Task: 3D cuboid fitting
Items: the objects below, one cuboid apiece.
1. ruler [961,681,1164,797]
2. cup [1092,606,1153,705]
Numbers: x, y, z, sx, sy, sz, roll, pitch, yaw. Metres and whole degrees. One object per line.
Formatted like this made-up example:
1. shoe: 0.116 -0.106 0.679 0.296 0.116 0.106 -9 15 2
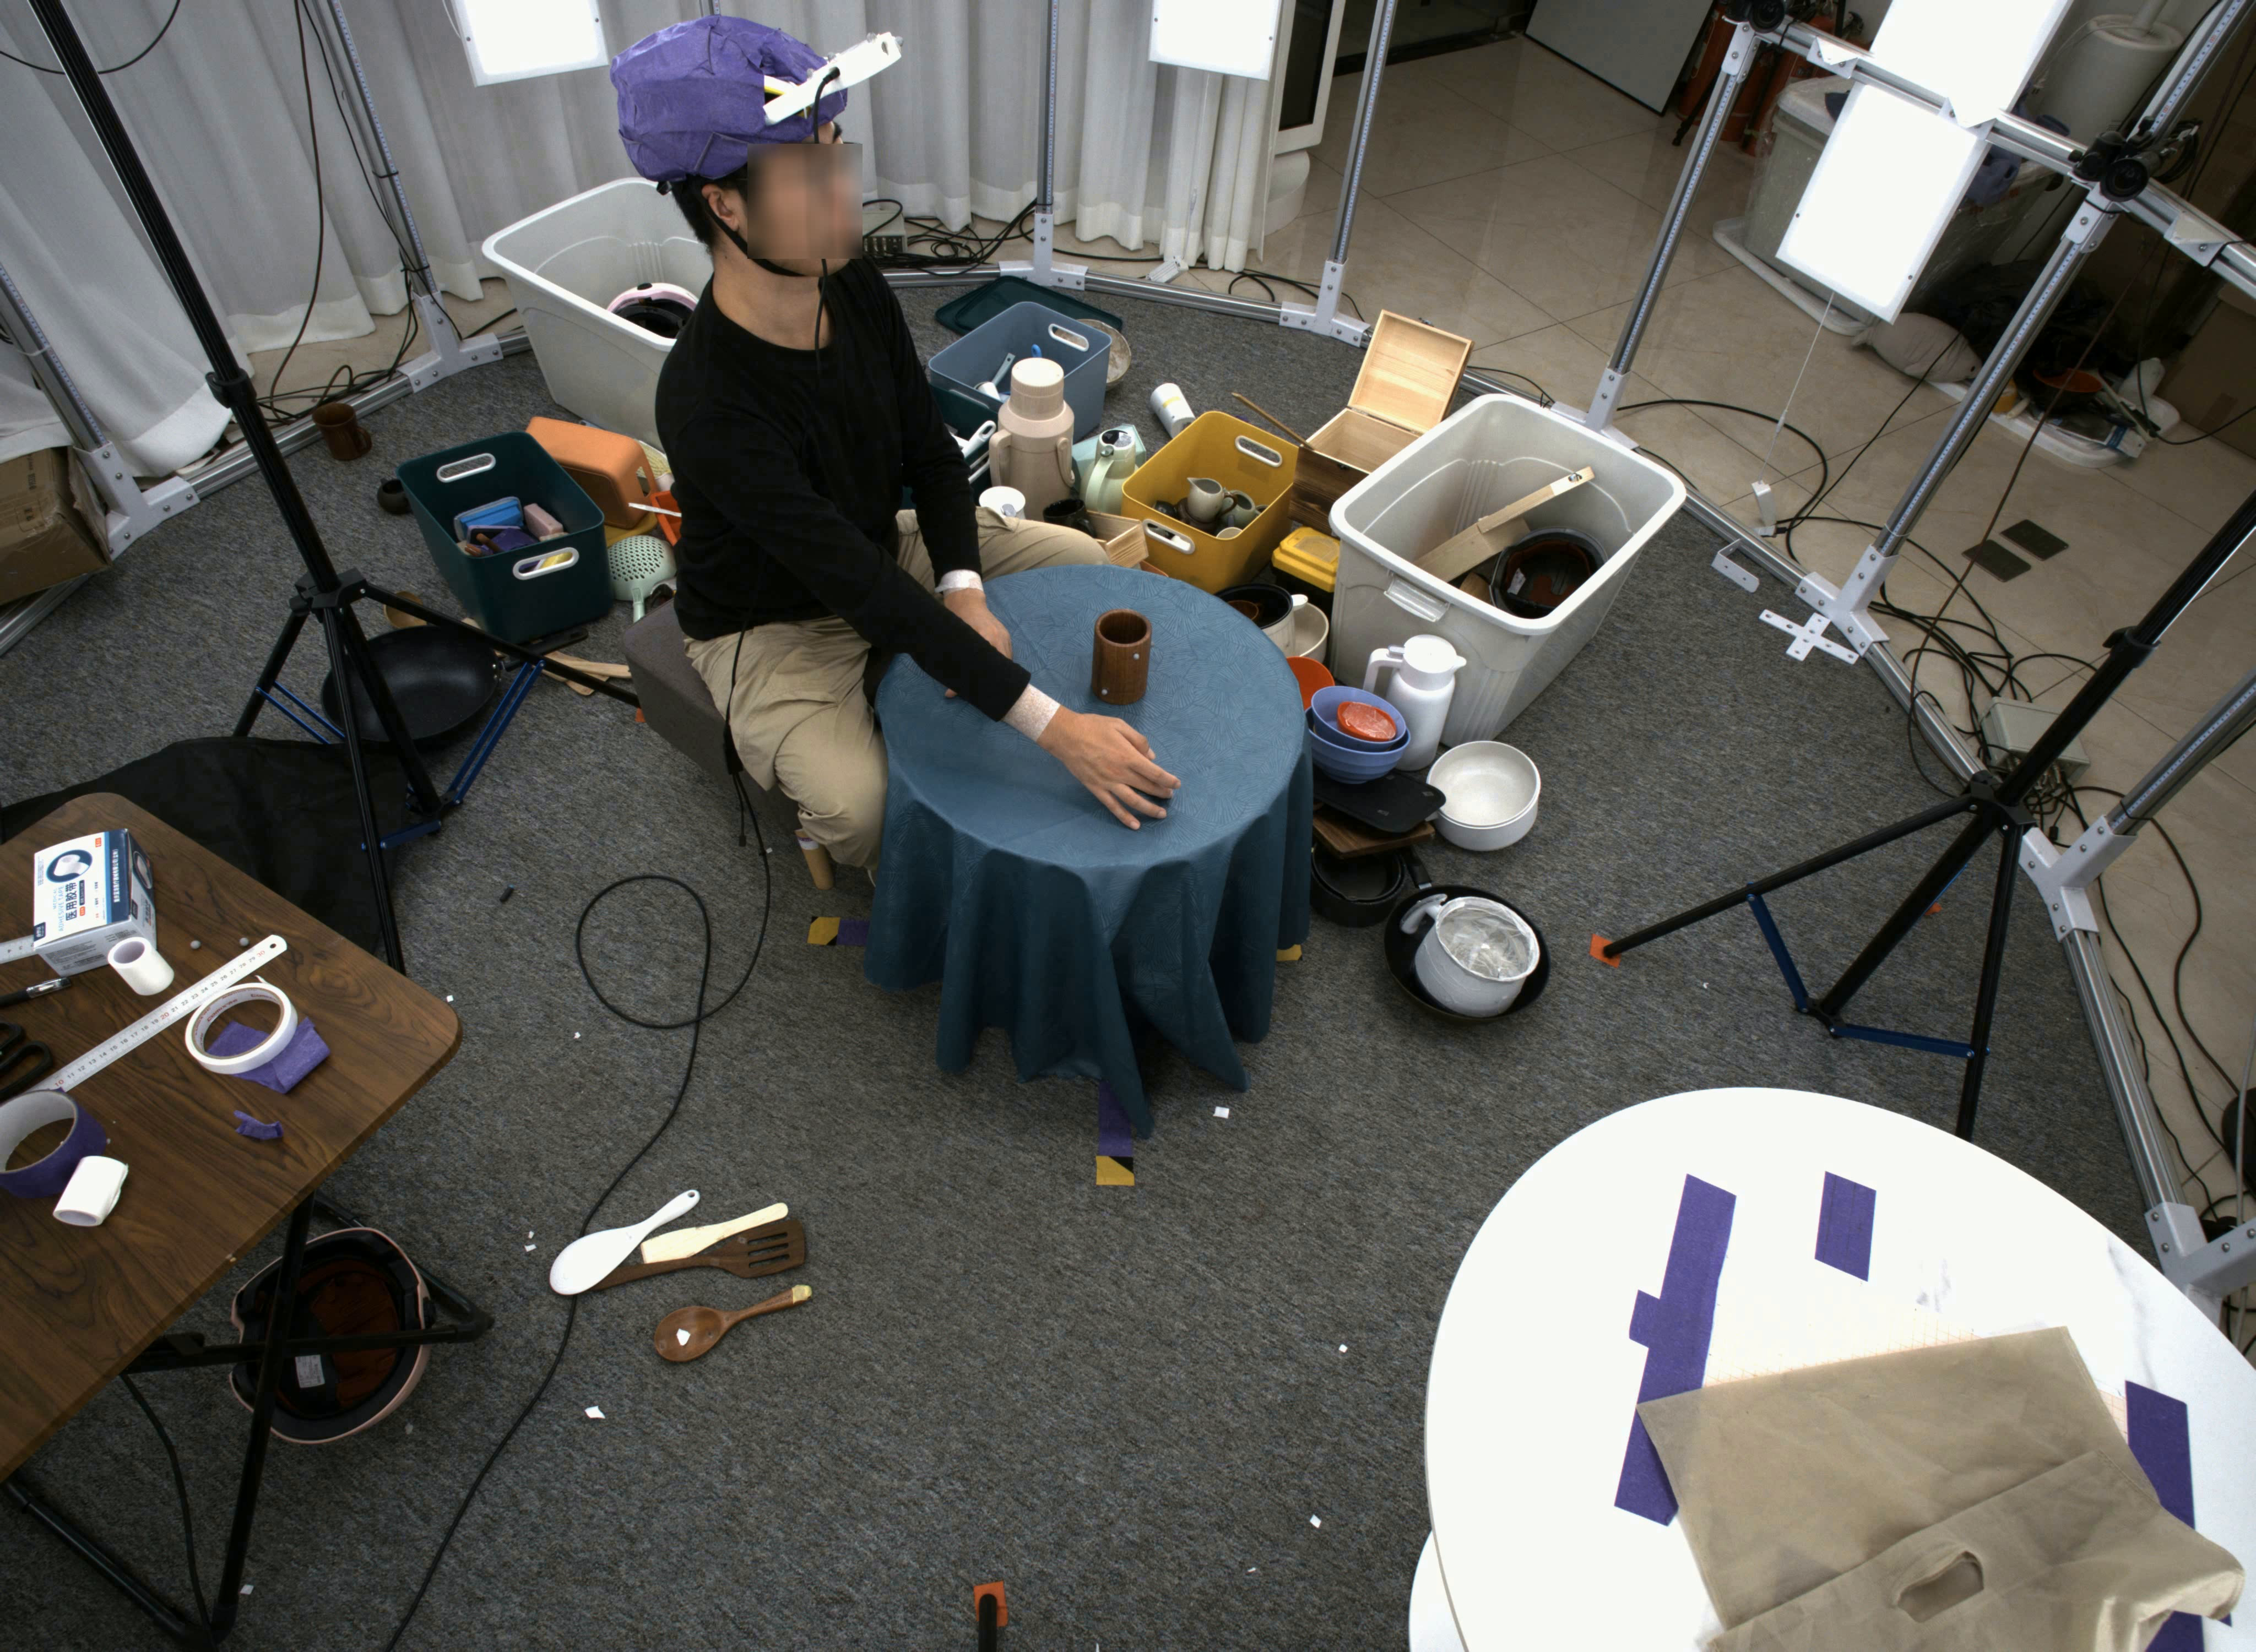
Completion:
1. ruler: -0.092 -0.124 1.761 0.335 0.022 0.027 30 31 20
2. cup: -0.009 -0.238 1.801 0.087 0.115 0.090 2 48 -3
